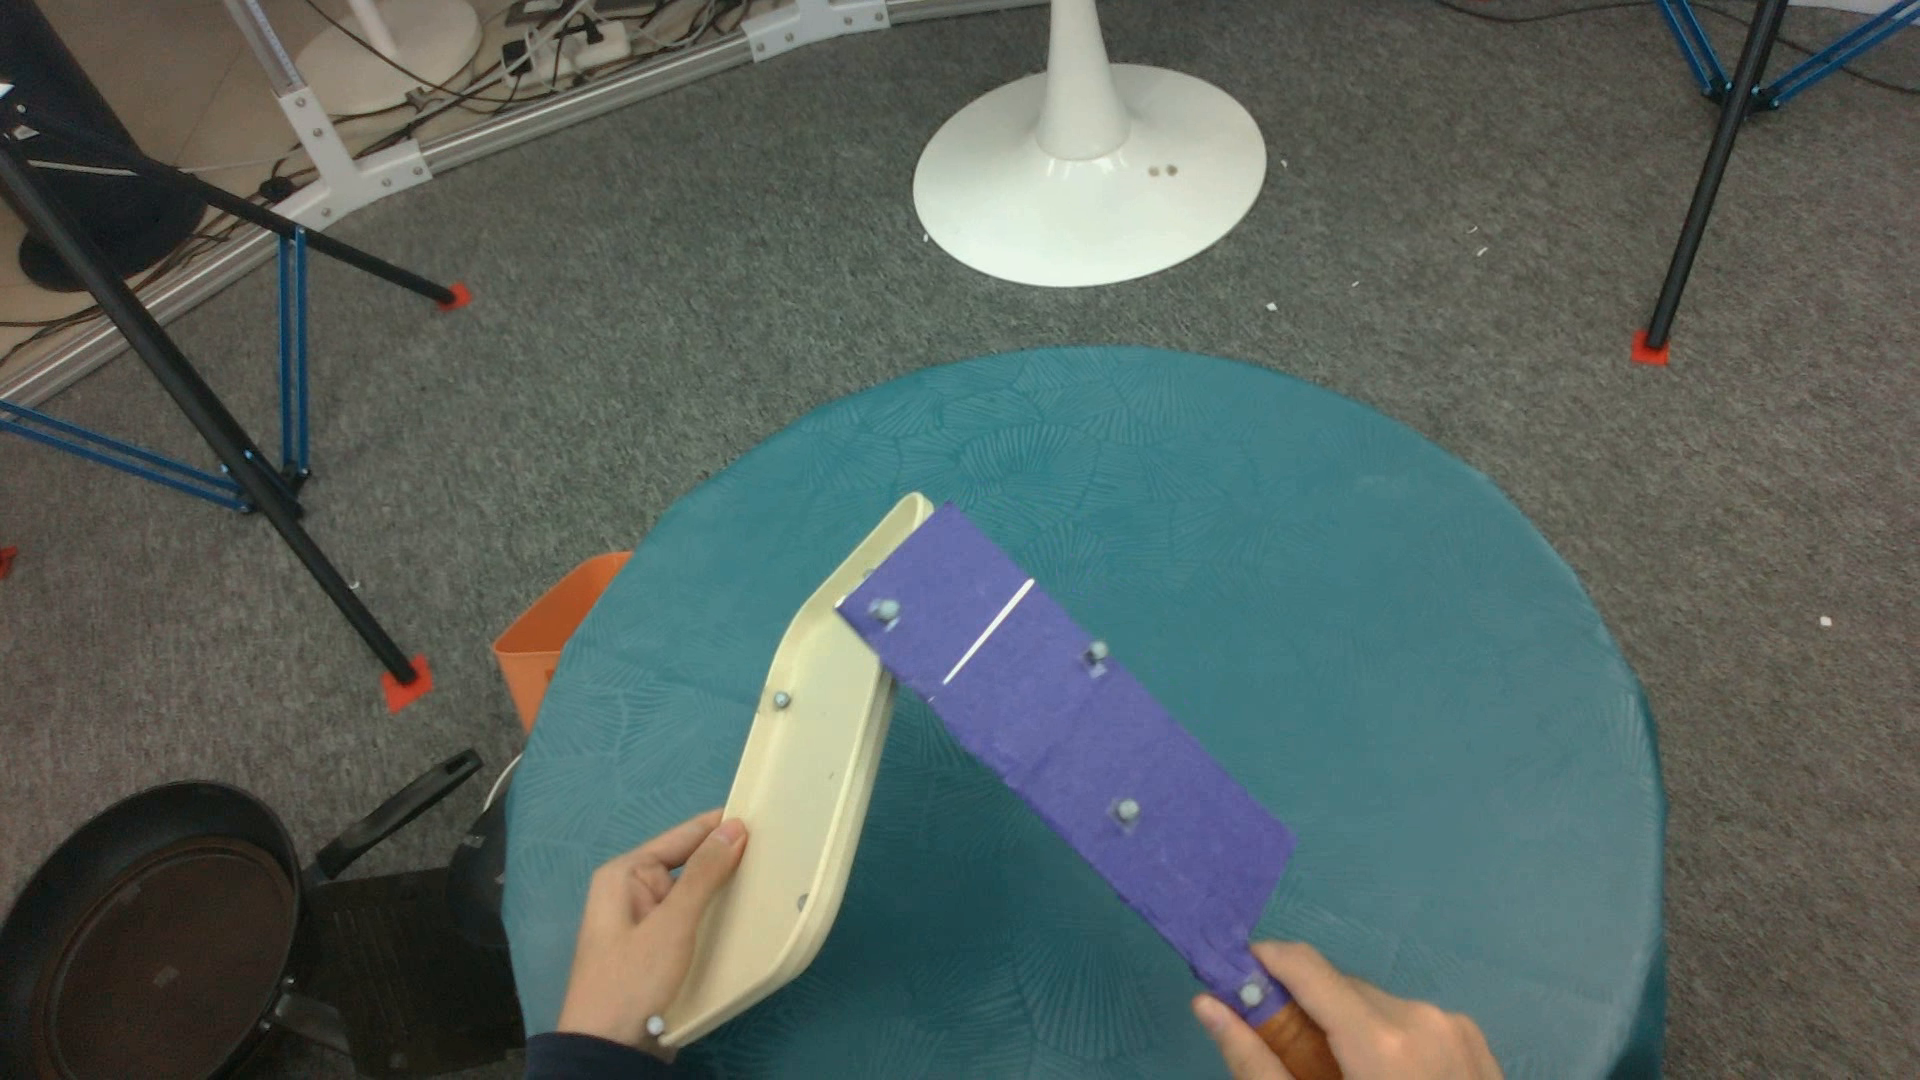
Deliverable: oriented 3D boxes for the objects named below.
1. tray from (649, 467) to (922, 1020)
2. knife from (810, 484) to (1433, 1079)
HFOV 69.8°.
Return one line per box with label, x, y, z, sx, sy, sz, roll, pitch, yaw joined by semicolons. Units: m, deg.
tray;-0.076;0.089;0.627;0.017;0.170;0.241;27;49;-18
knife;0.080;0.099;0.548;0.315;0.032;0.104;45;45;0
